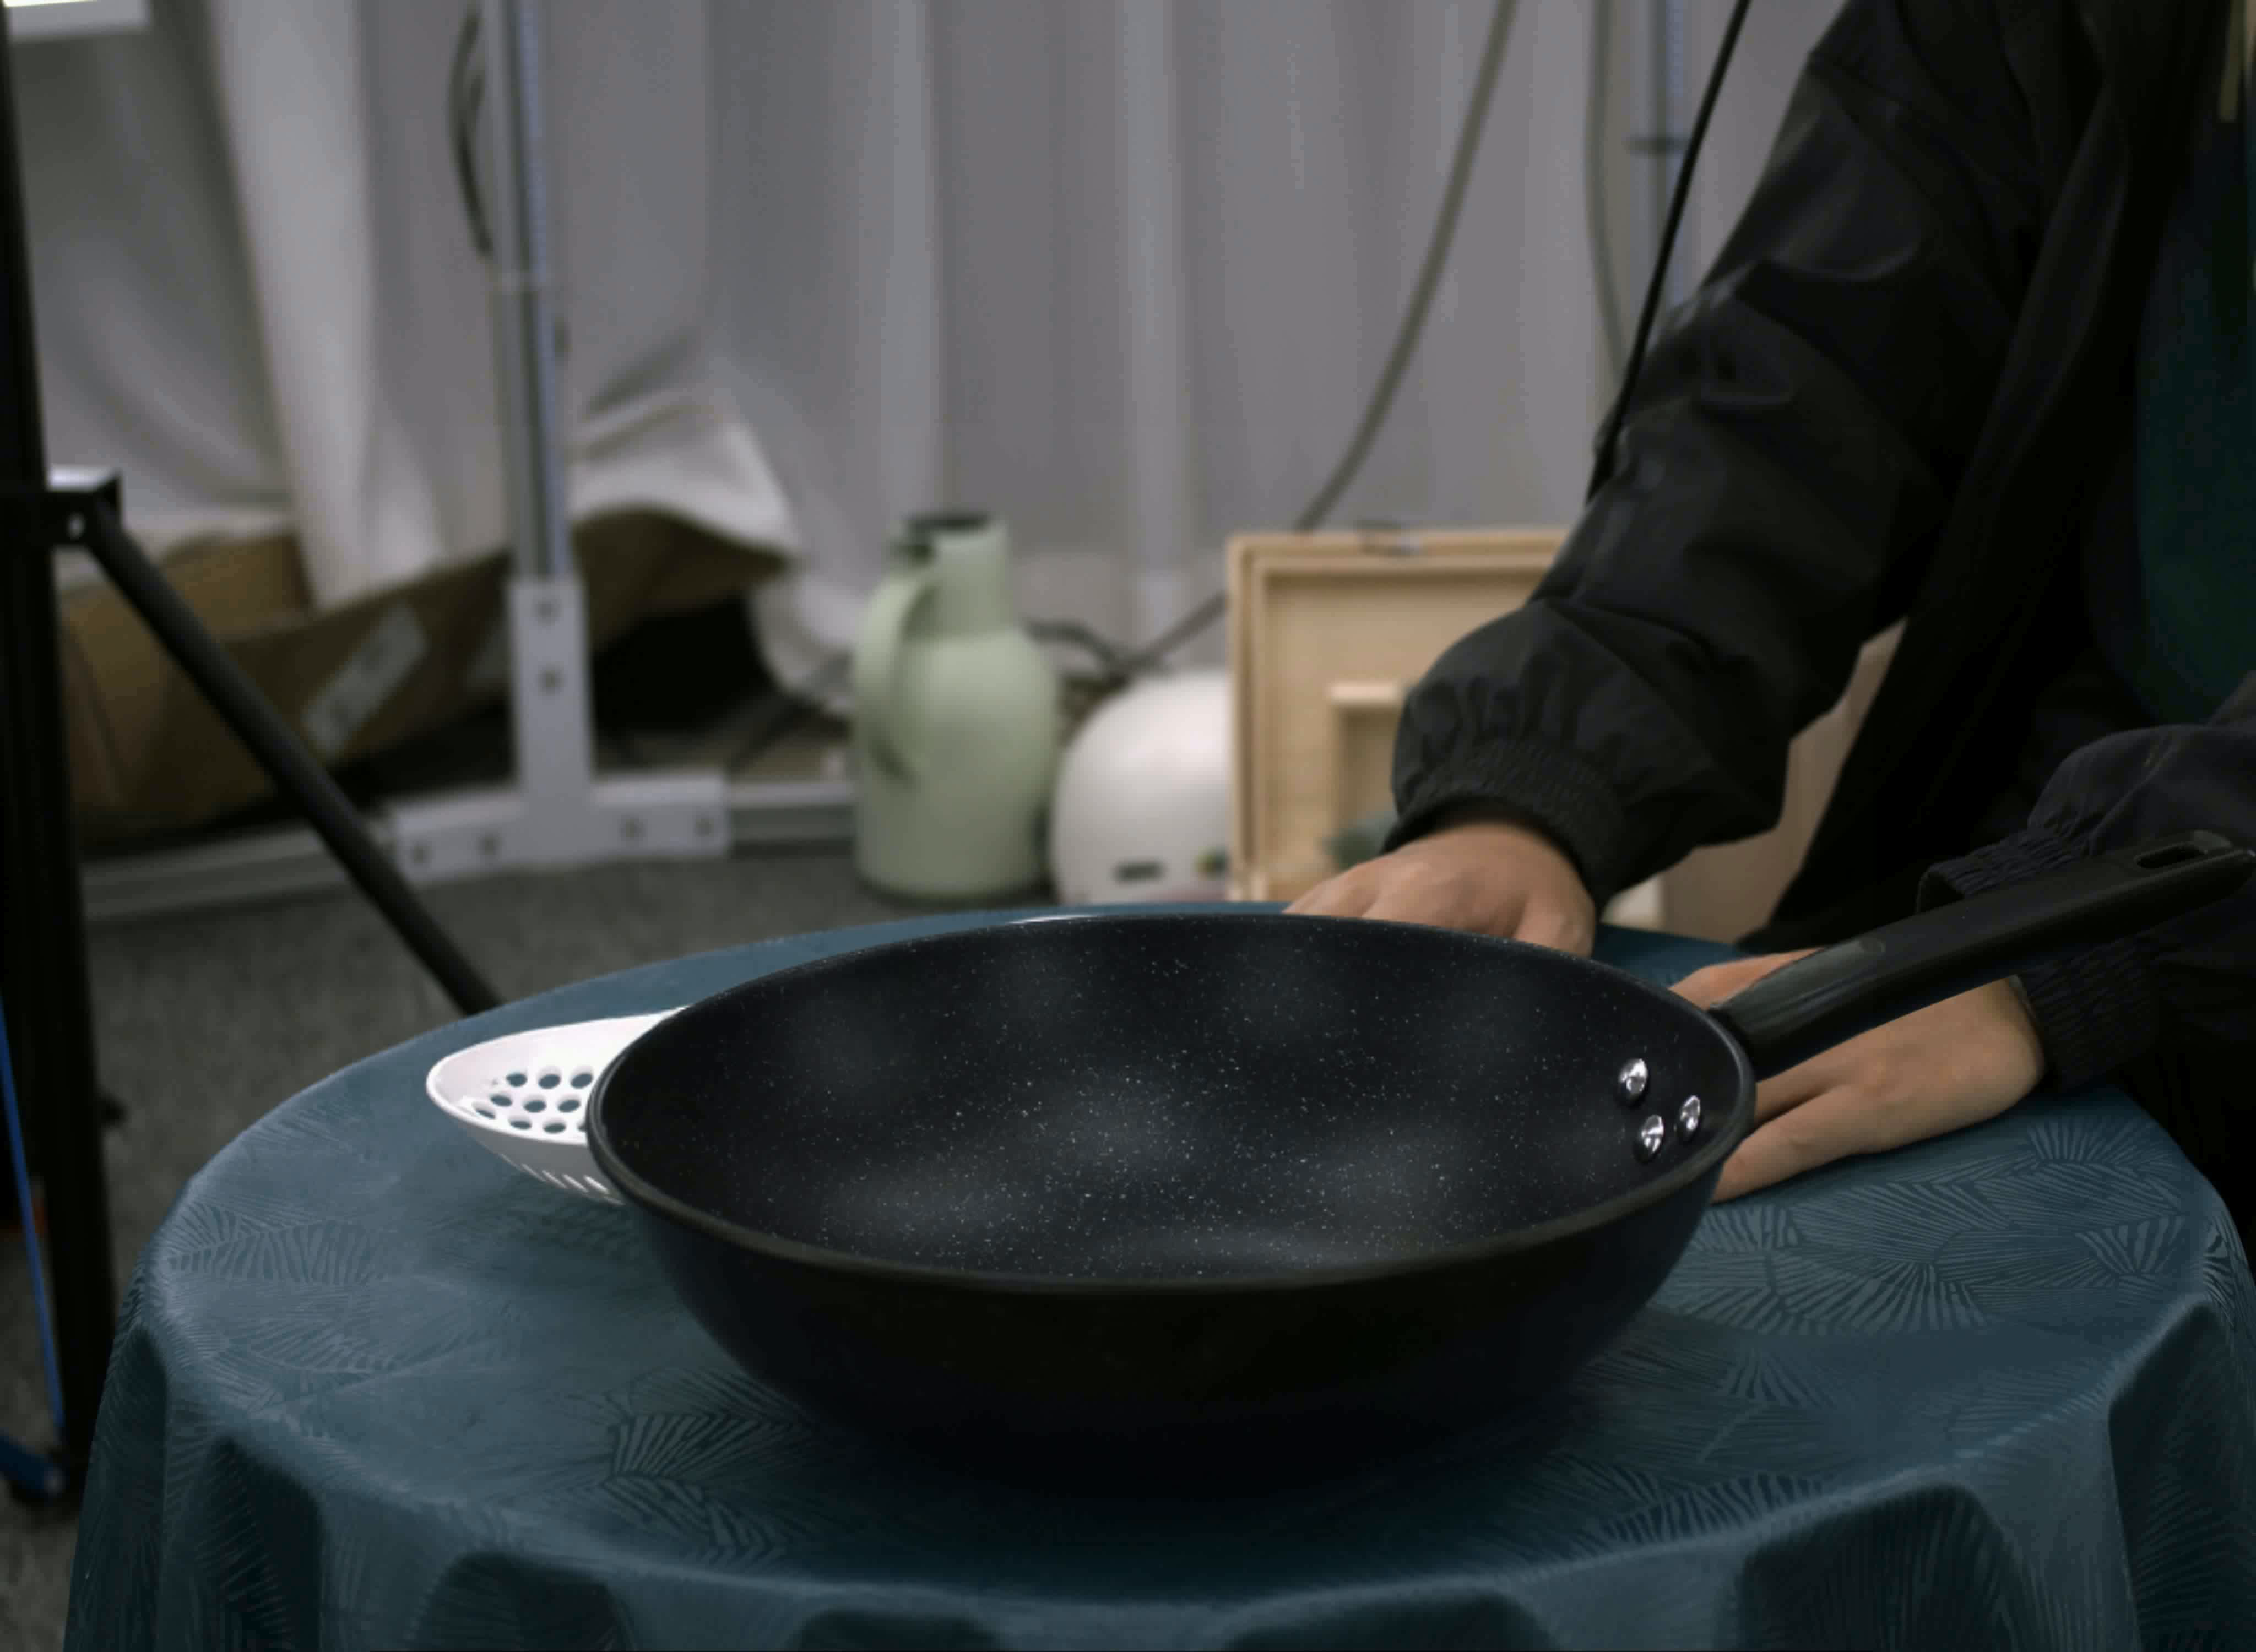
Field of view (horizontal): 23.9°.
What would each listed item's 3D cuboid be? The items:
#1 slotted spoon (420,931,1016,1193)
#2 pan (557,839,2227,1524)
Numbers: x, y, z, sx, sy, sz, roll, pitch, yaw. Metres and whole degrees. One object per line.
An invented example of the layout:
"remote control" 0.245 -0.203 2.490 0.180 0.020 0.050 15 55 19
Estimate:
"slotted spoon" -0.078 0.062 1.658 0.139 0.050 0.341 6 17 33
"pan" 0.084 0.089 1.422 0.469 0.111 0.315 -8 18 -17
